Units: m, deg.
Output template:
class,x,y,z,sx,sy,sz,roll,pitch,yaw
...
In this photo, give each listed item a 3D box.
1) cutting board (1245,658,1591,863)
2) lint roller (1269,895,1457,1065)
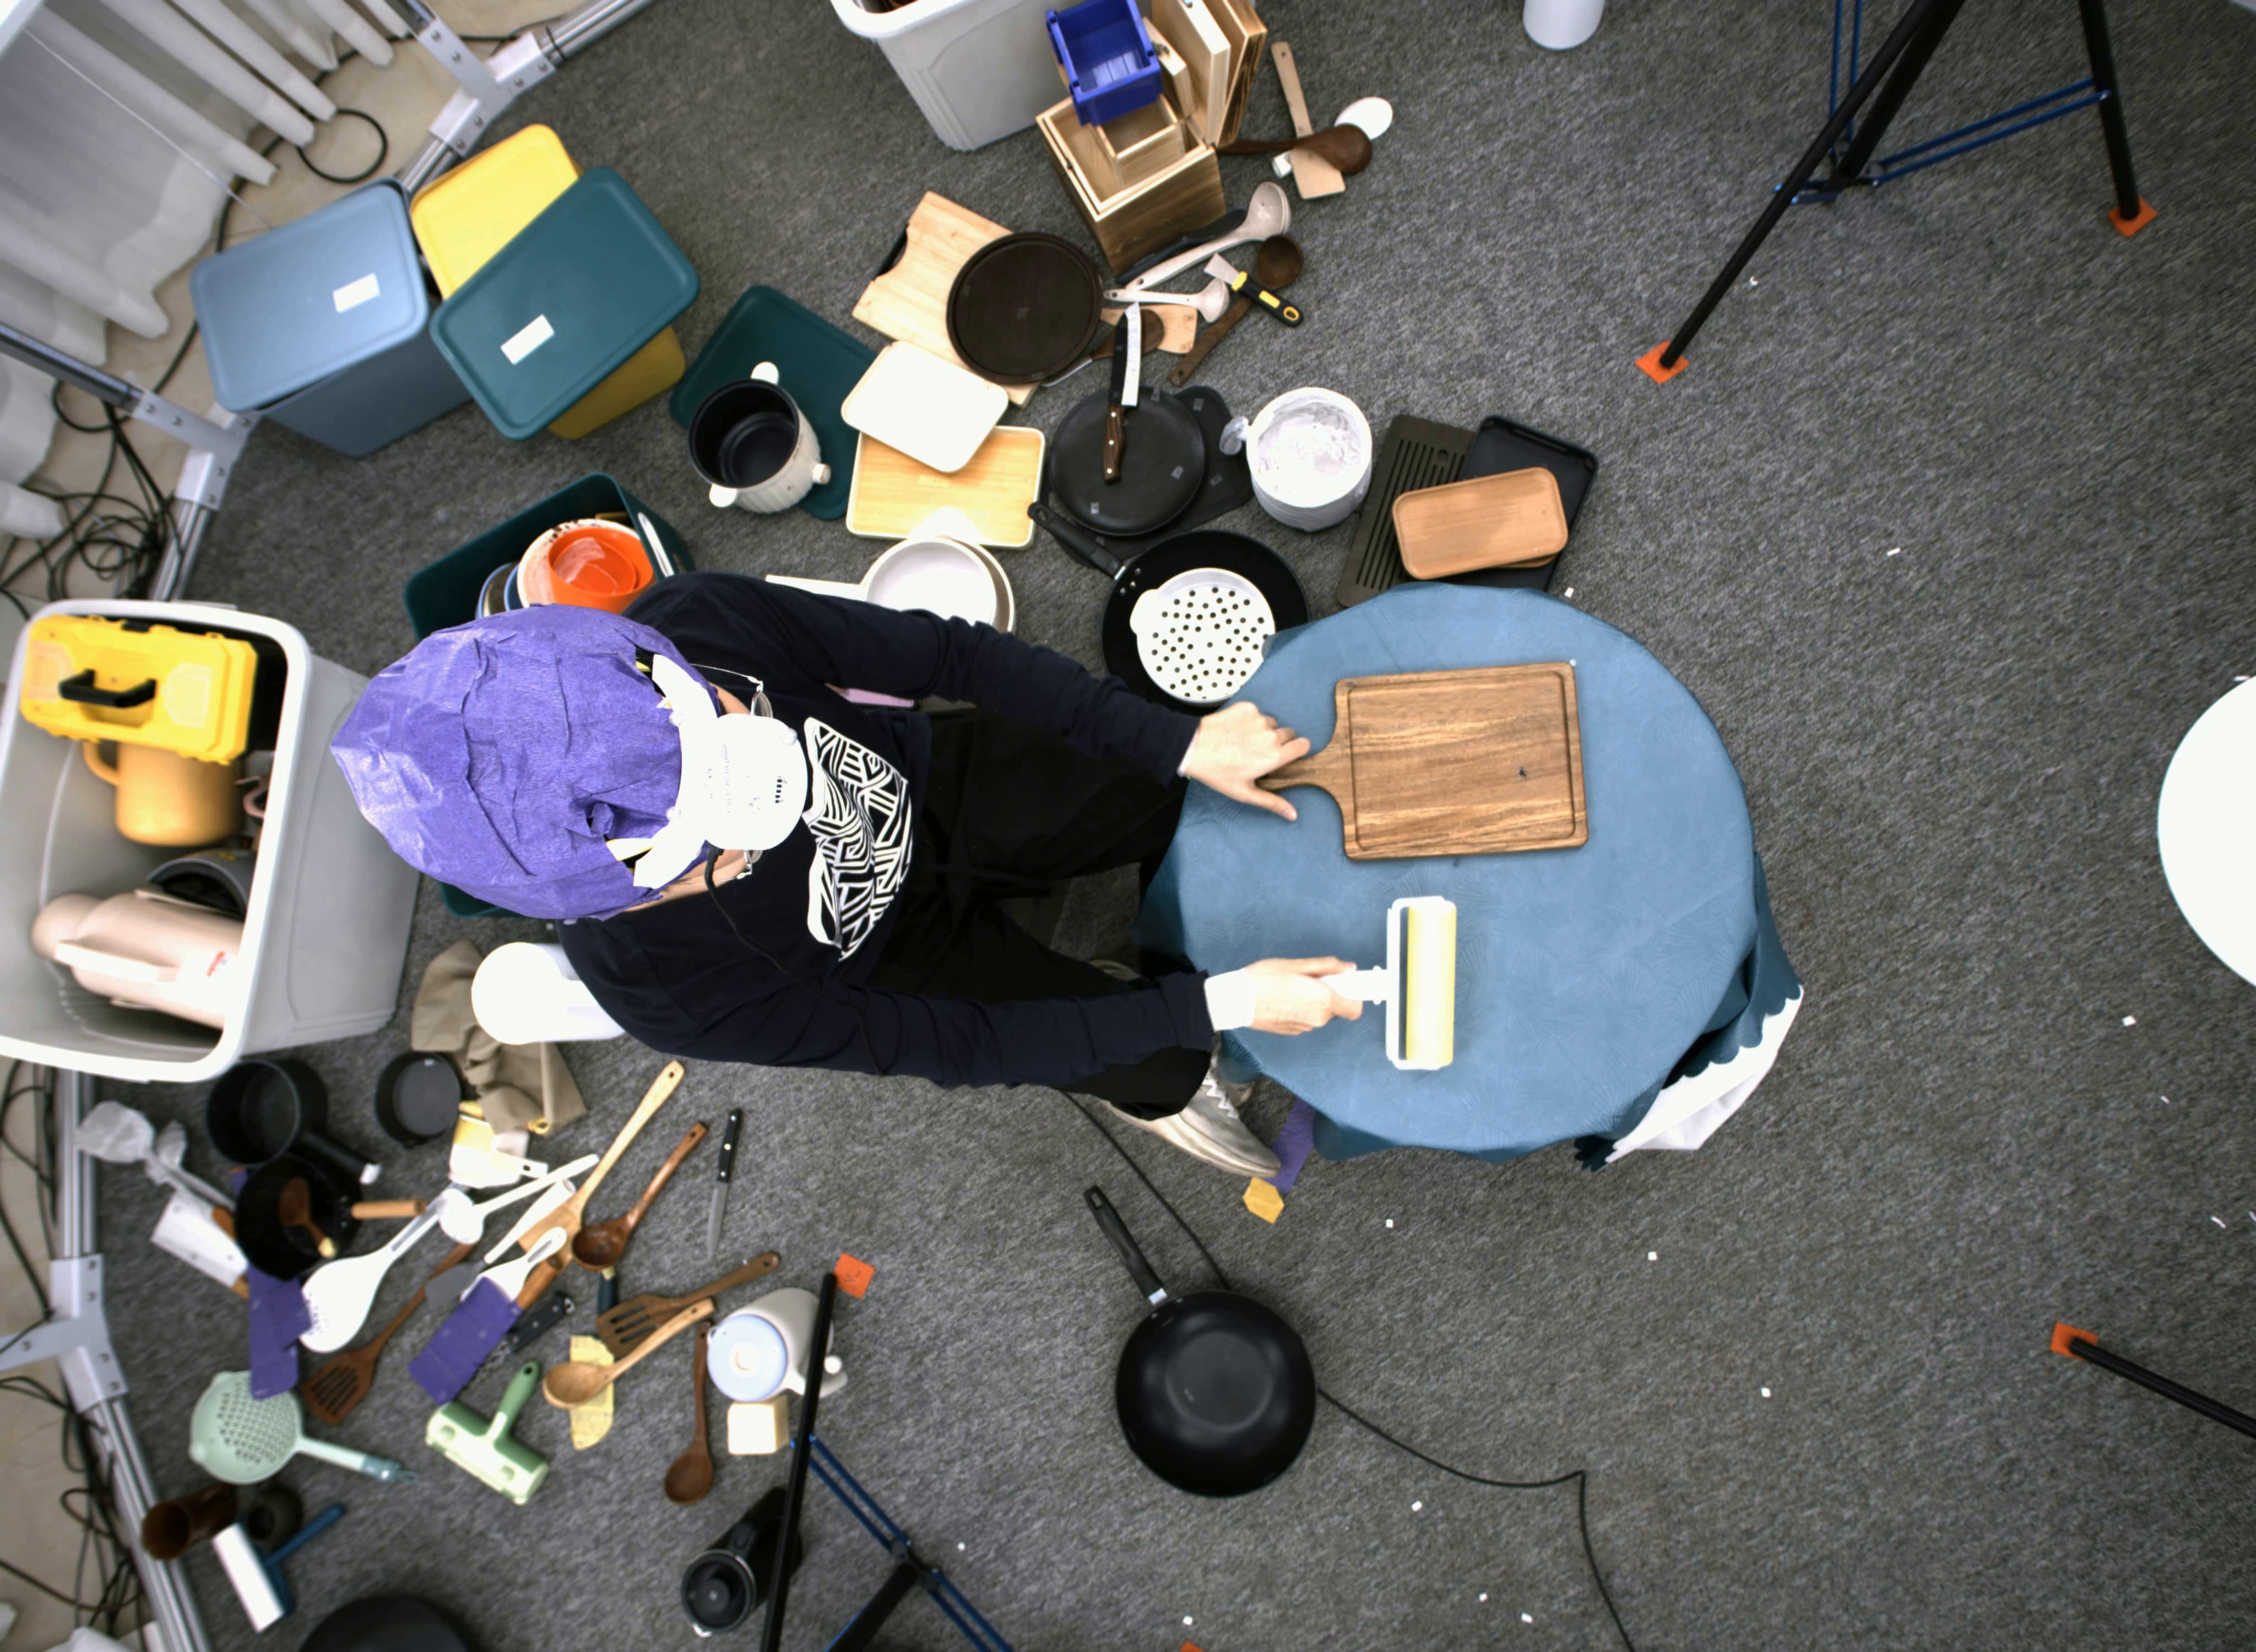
class,x,y,z,sx,sy,sz,roll,pitch,yaw
cutting board,0.299,-0.067,1.452,0.354,0.023,0.200,-4,86,11
lint roller,0.239,0.161,1.388,0.191,0.051,0.175,-5,99,-16
